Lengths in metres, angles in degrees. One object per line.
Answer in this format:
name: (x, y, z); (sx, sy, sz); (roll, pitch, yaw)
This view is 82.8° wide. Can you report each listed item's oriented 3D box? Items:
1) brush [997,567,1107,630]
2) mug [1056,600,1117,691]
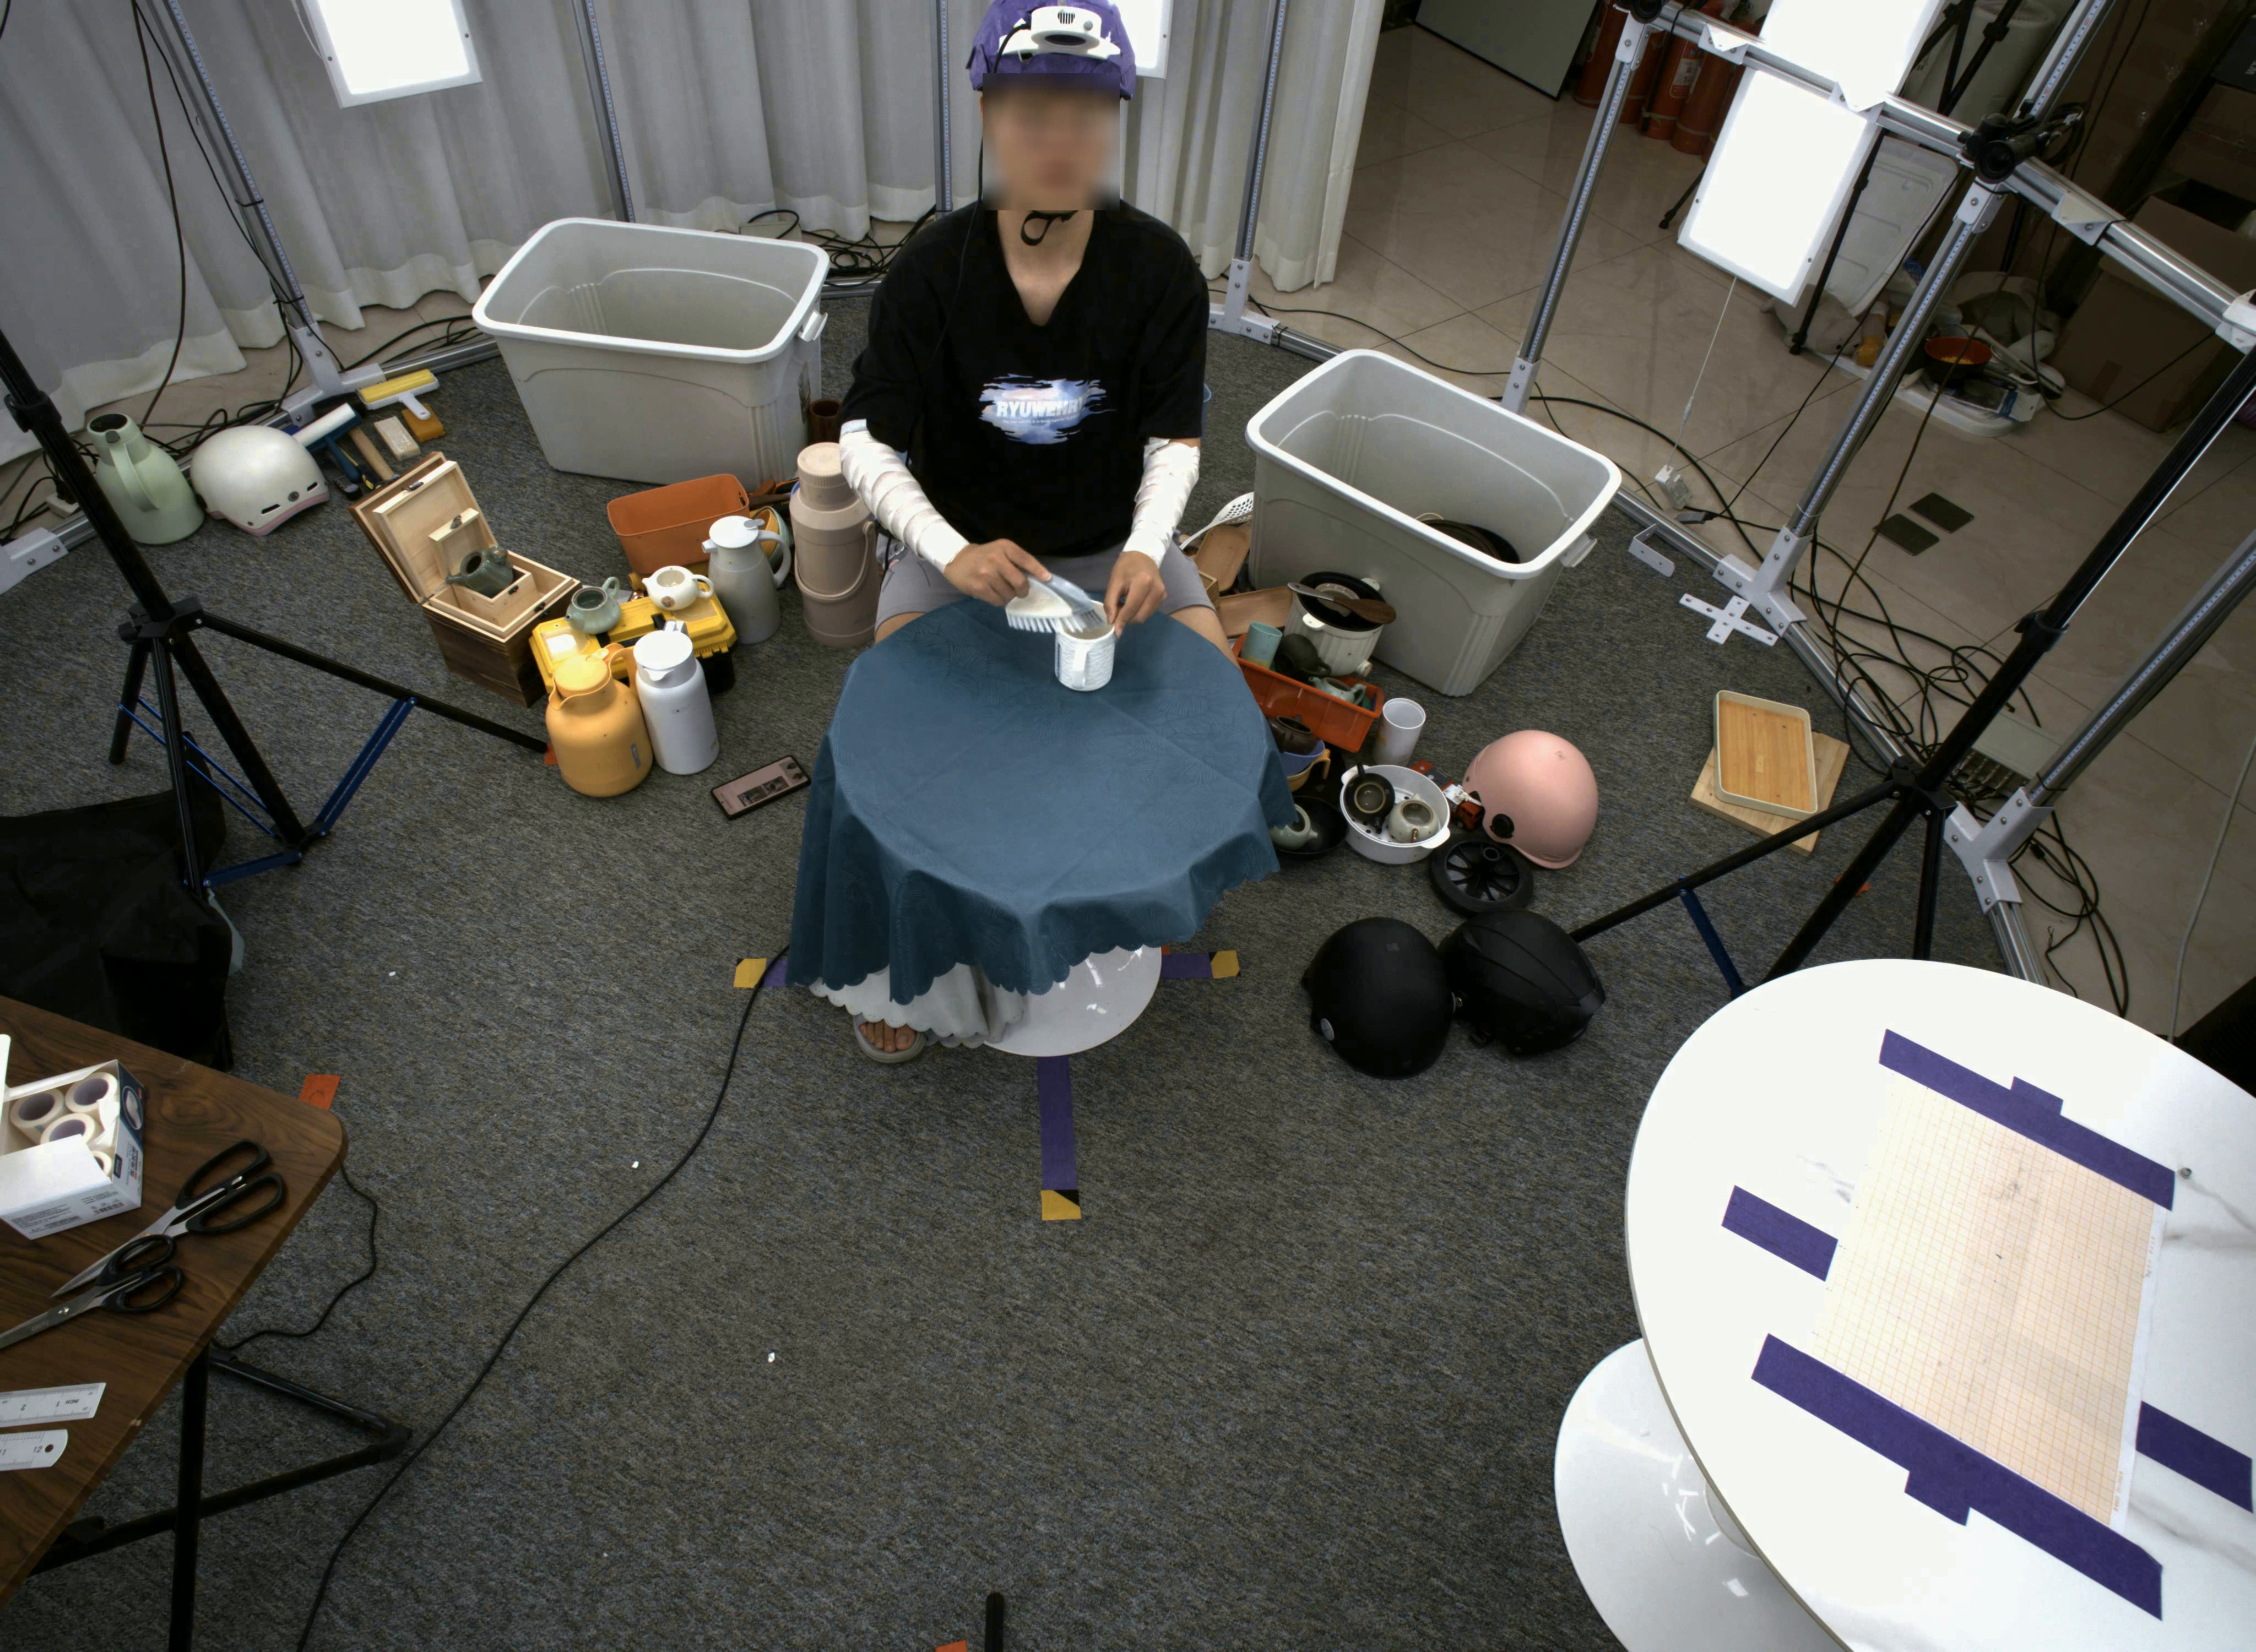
brush: (-0.110, -0.317, 1.772); (0.177, 0.092, 0.062); (18, 67, 41)
mug: (-0.062, -0.242, 1.812); (0.085, 0.099, 0.121); (6, 50, 1)
